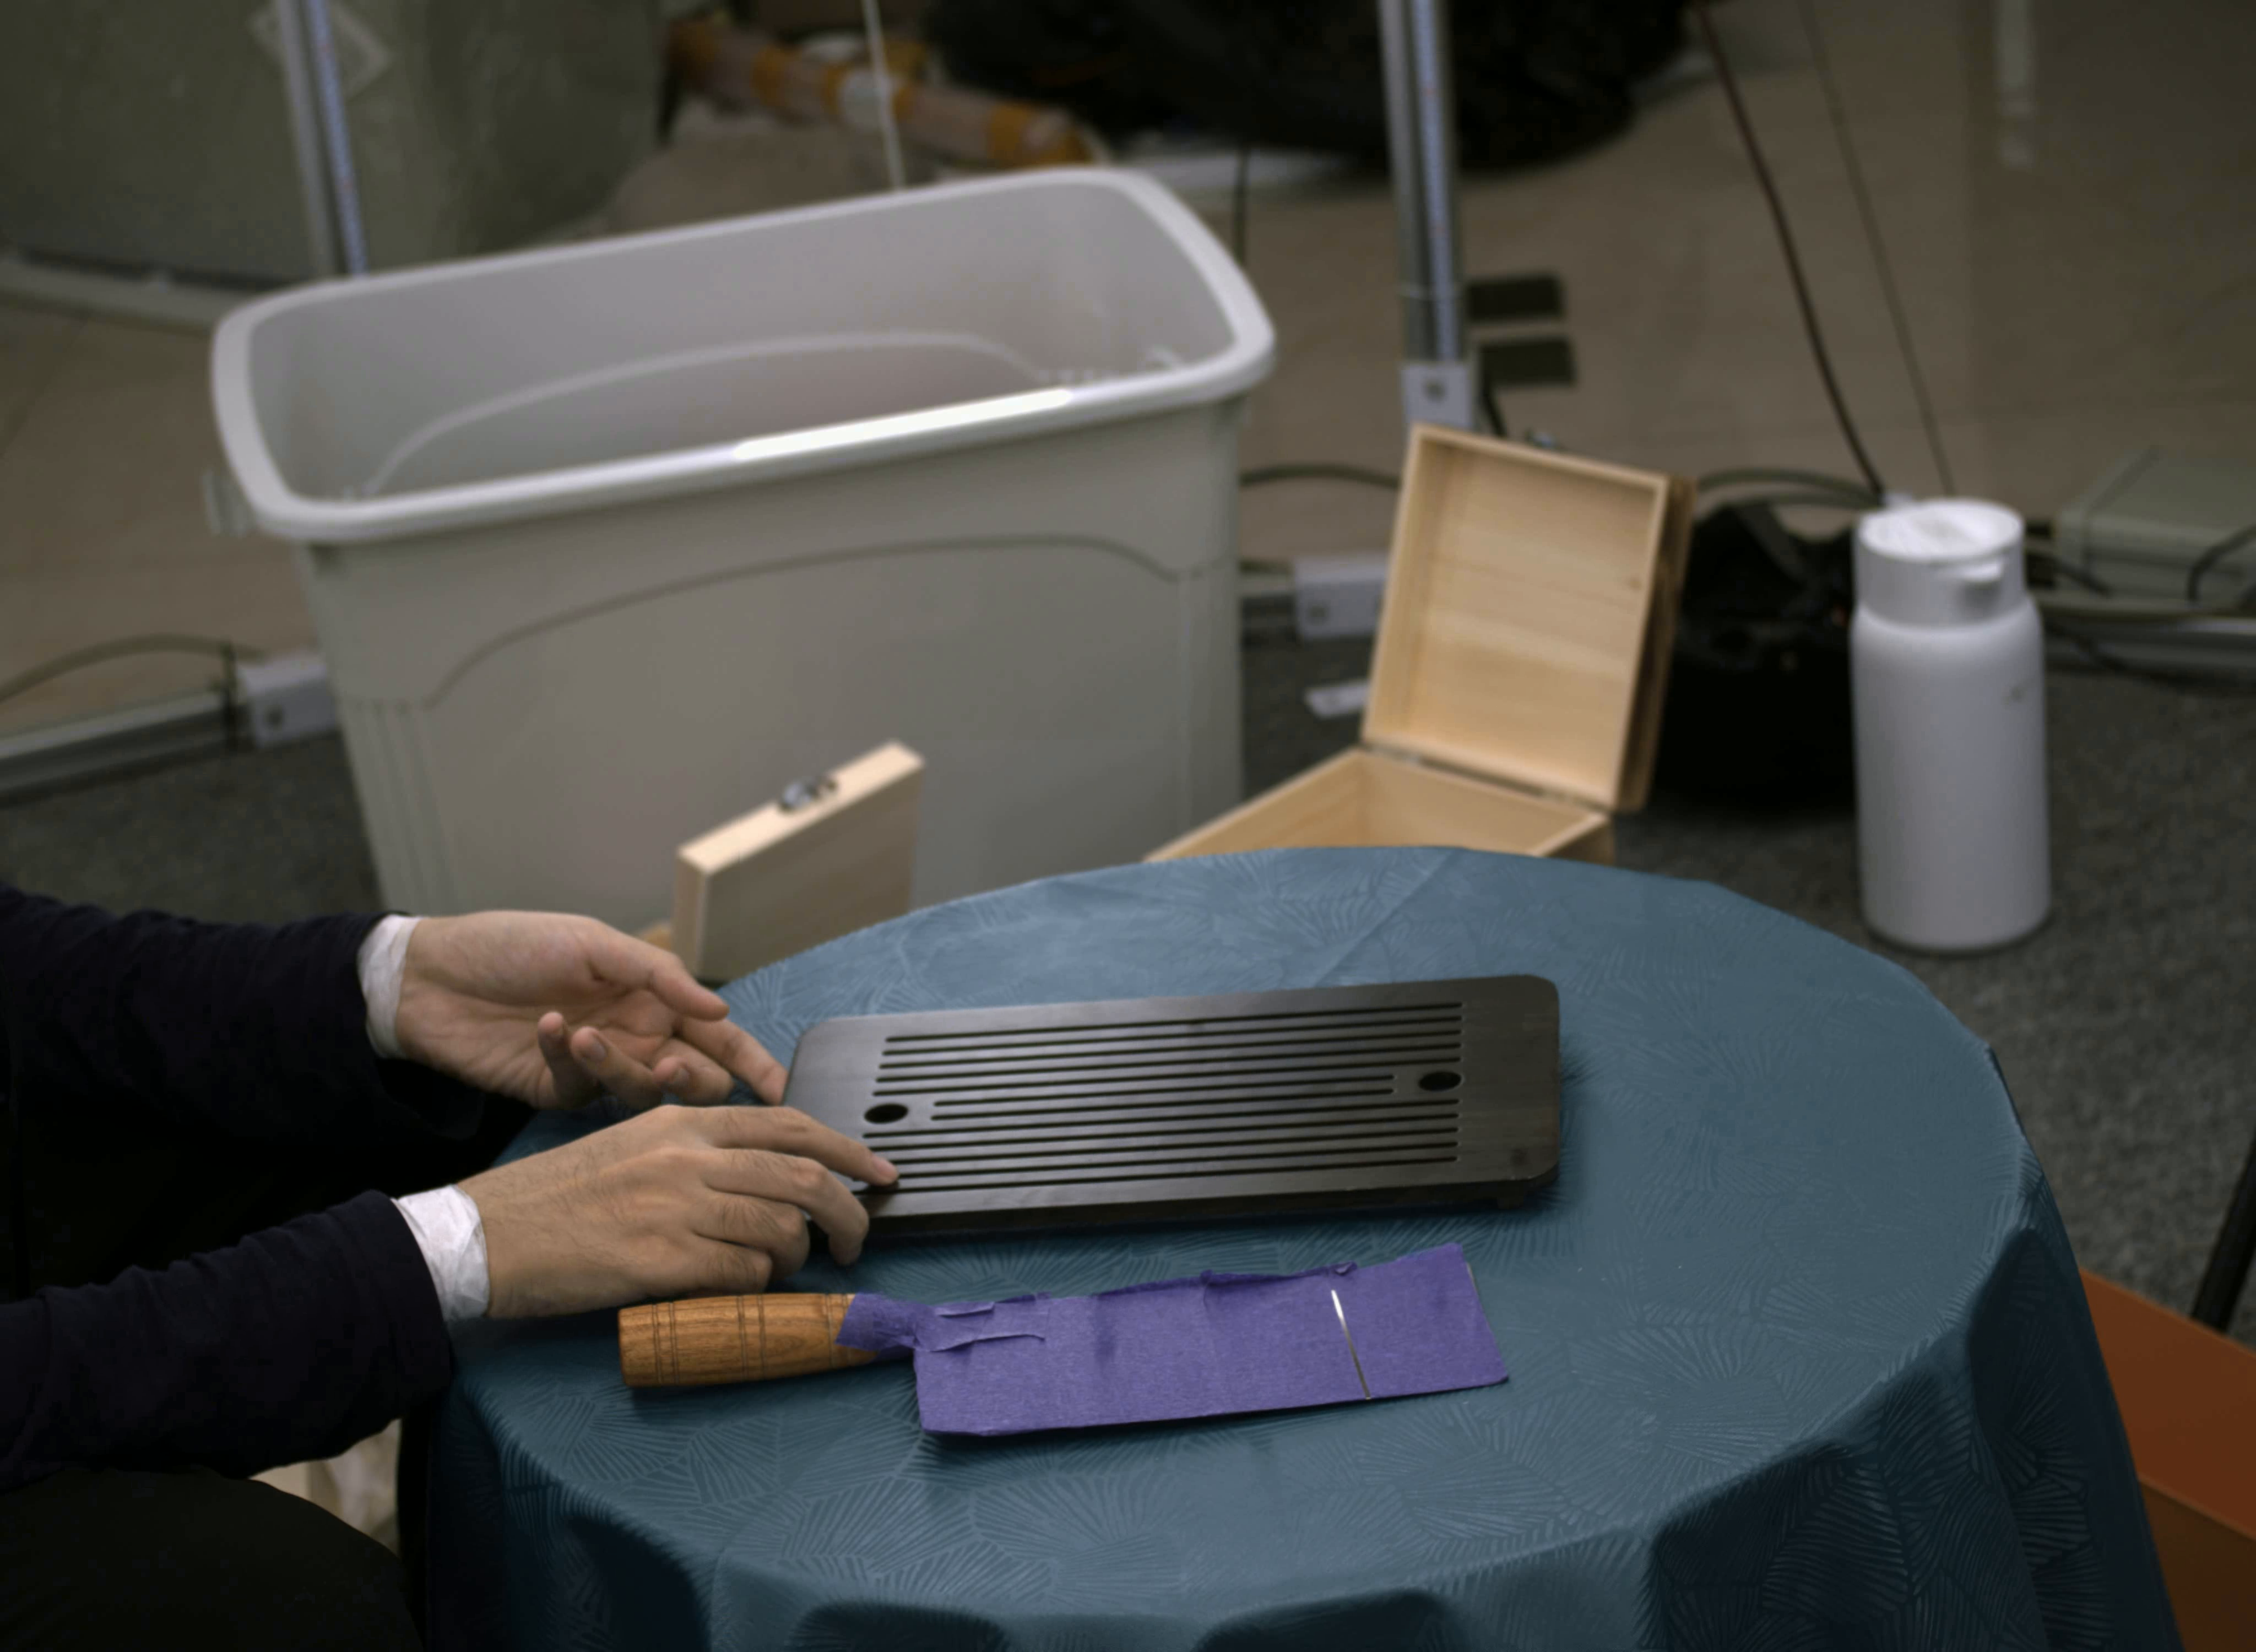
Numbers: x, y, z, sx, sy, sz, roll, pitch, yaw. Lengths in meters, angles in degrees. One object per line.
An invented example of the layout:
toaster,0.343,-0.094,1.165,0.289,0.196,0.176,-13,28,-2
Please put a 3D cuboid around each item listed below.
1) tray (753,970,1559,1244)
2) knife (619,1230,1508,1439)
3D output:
tray,0.014,0.109,2.190,0.305,0.019,0.167,-4,25,6
knife,-0.024,0.186,2.025,0.315,0.033,0.102,-7,25,-3
